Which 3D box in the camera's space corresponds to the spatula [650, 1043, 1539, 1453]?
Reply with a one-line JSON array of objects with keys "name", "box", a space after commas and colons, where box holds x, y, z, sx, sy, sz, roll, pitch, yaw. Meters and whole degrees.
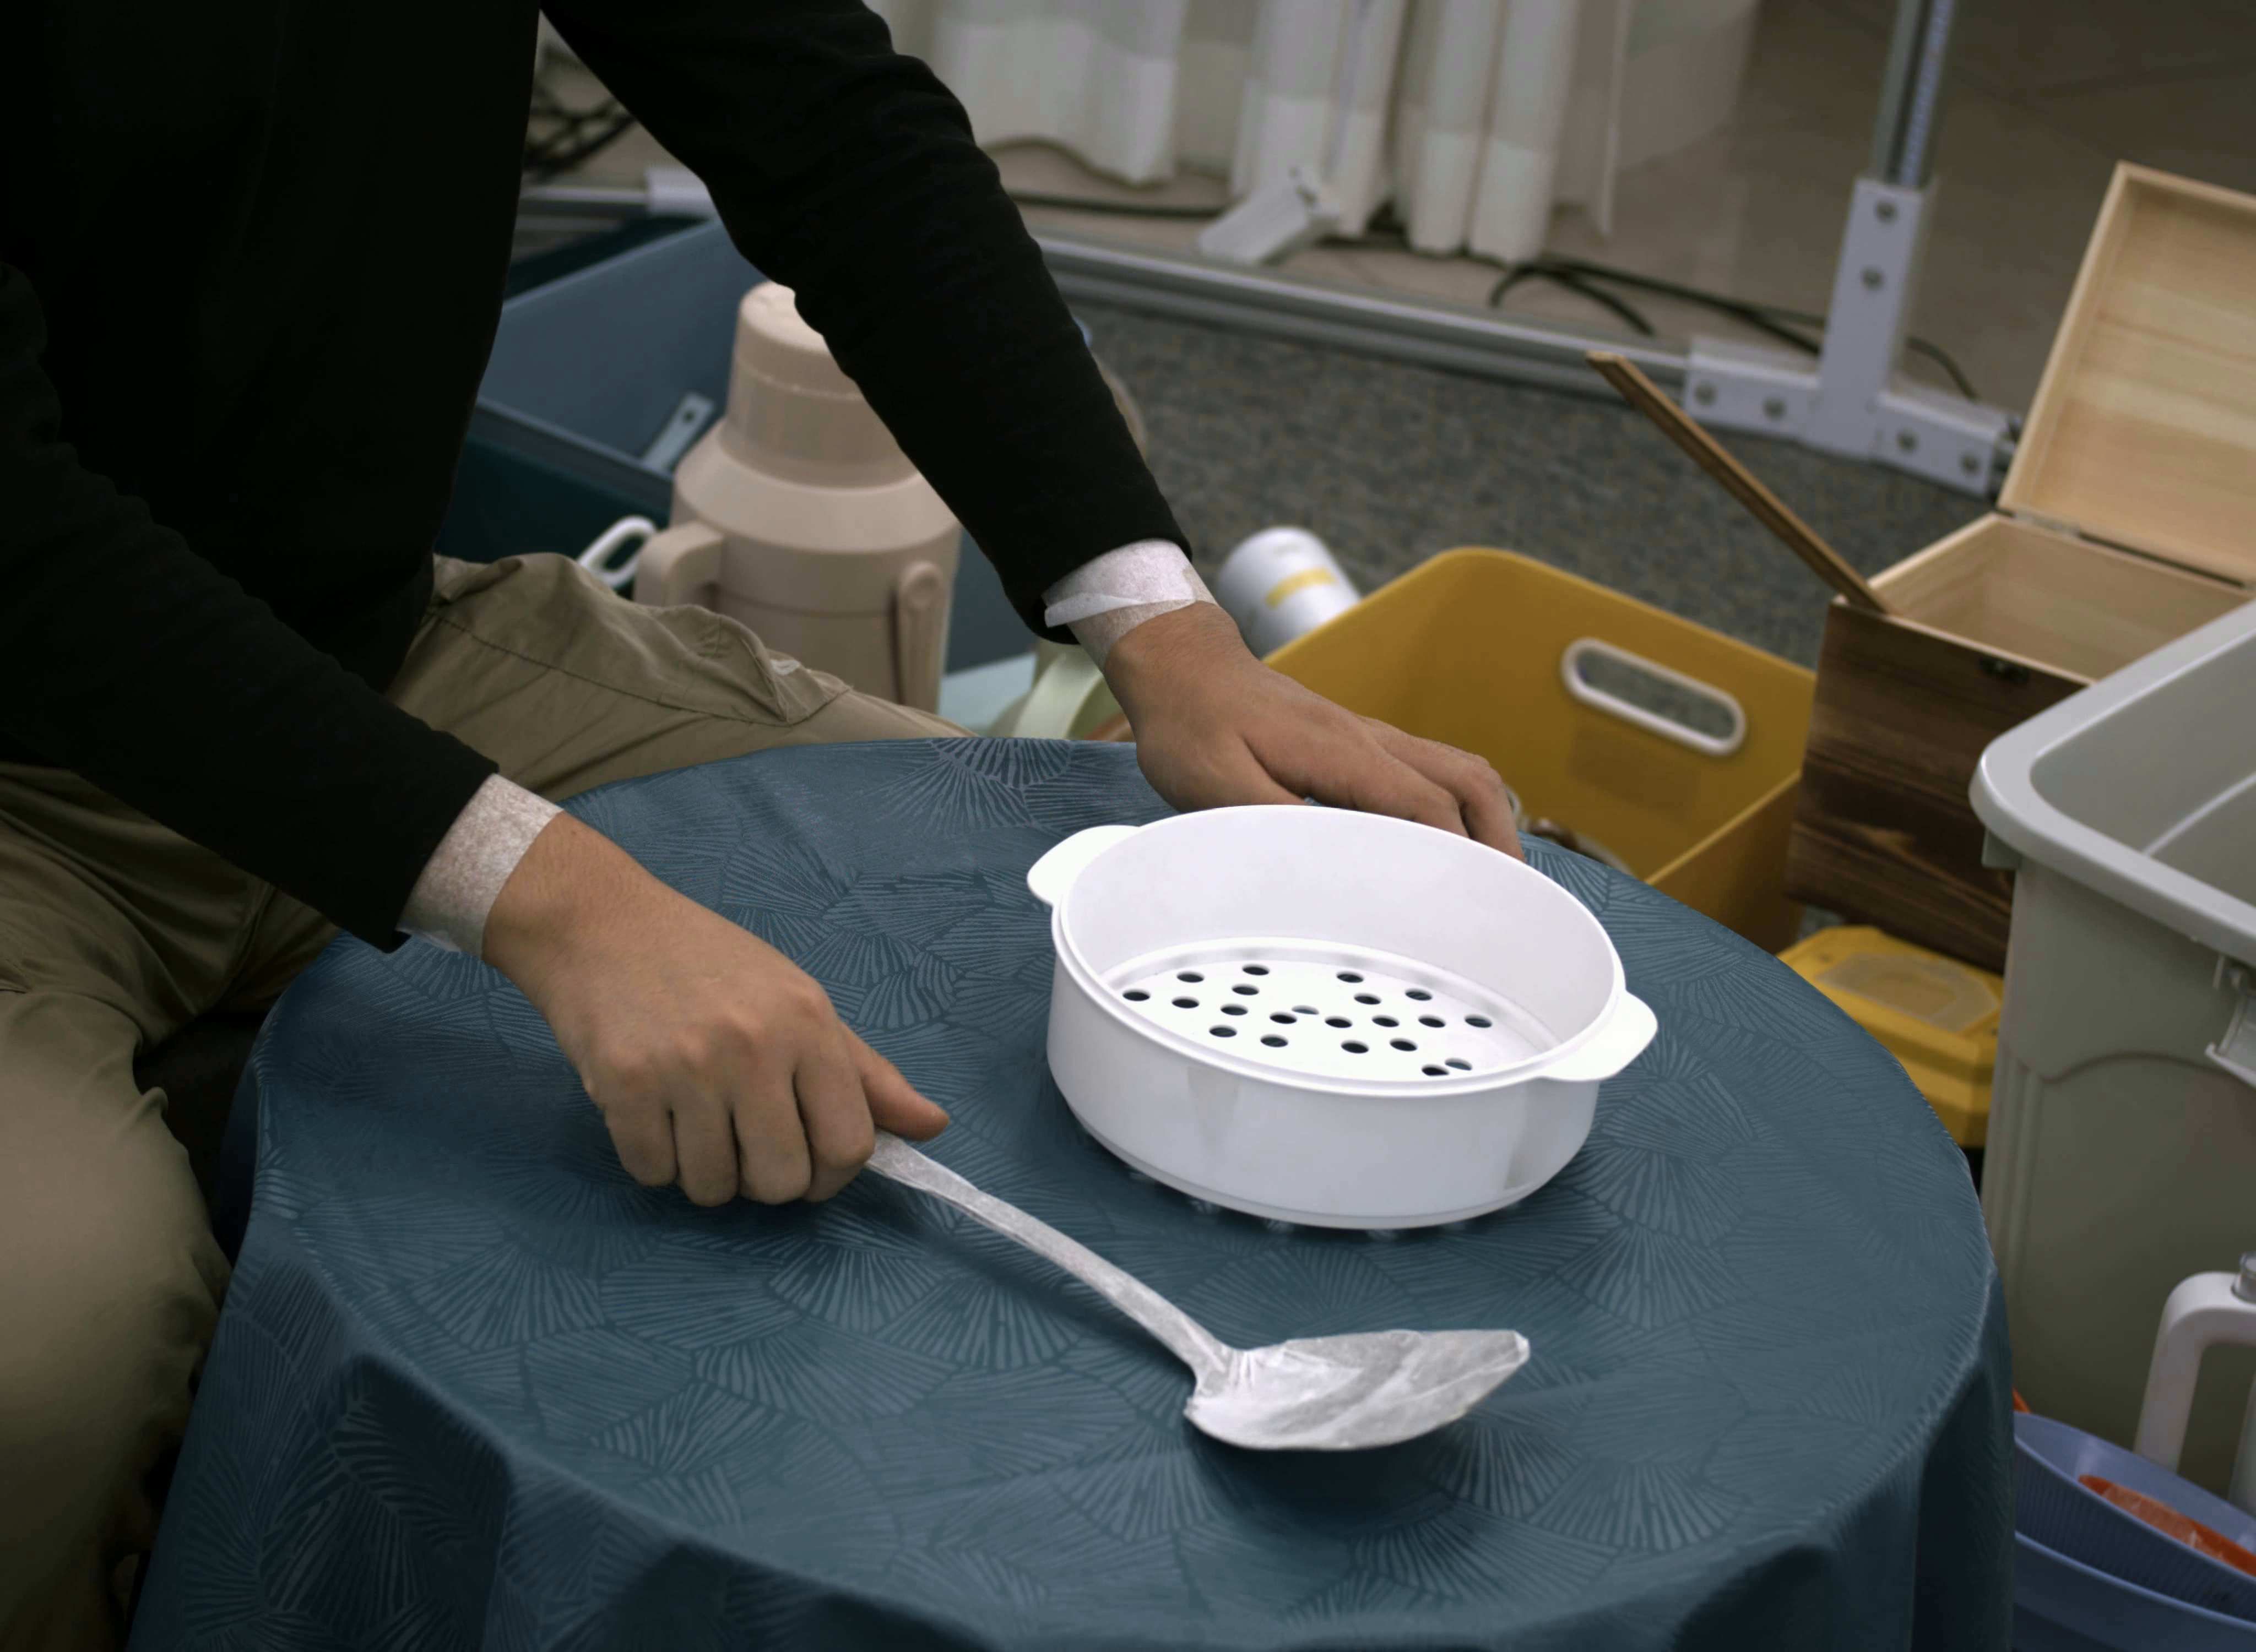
[{"name": "spatula", "box": [-0.031, 0.129, 1.743, 0.367, 0.044, 0.098, 25, 35, 33]}]

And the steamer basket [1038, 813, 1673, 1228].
[{"name": "steamer basket", "box": [0.074, 0.068, 1.851, 0.231, 0.069, 0.201, 18, 28, 24]}]
